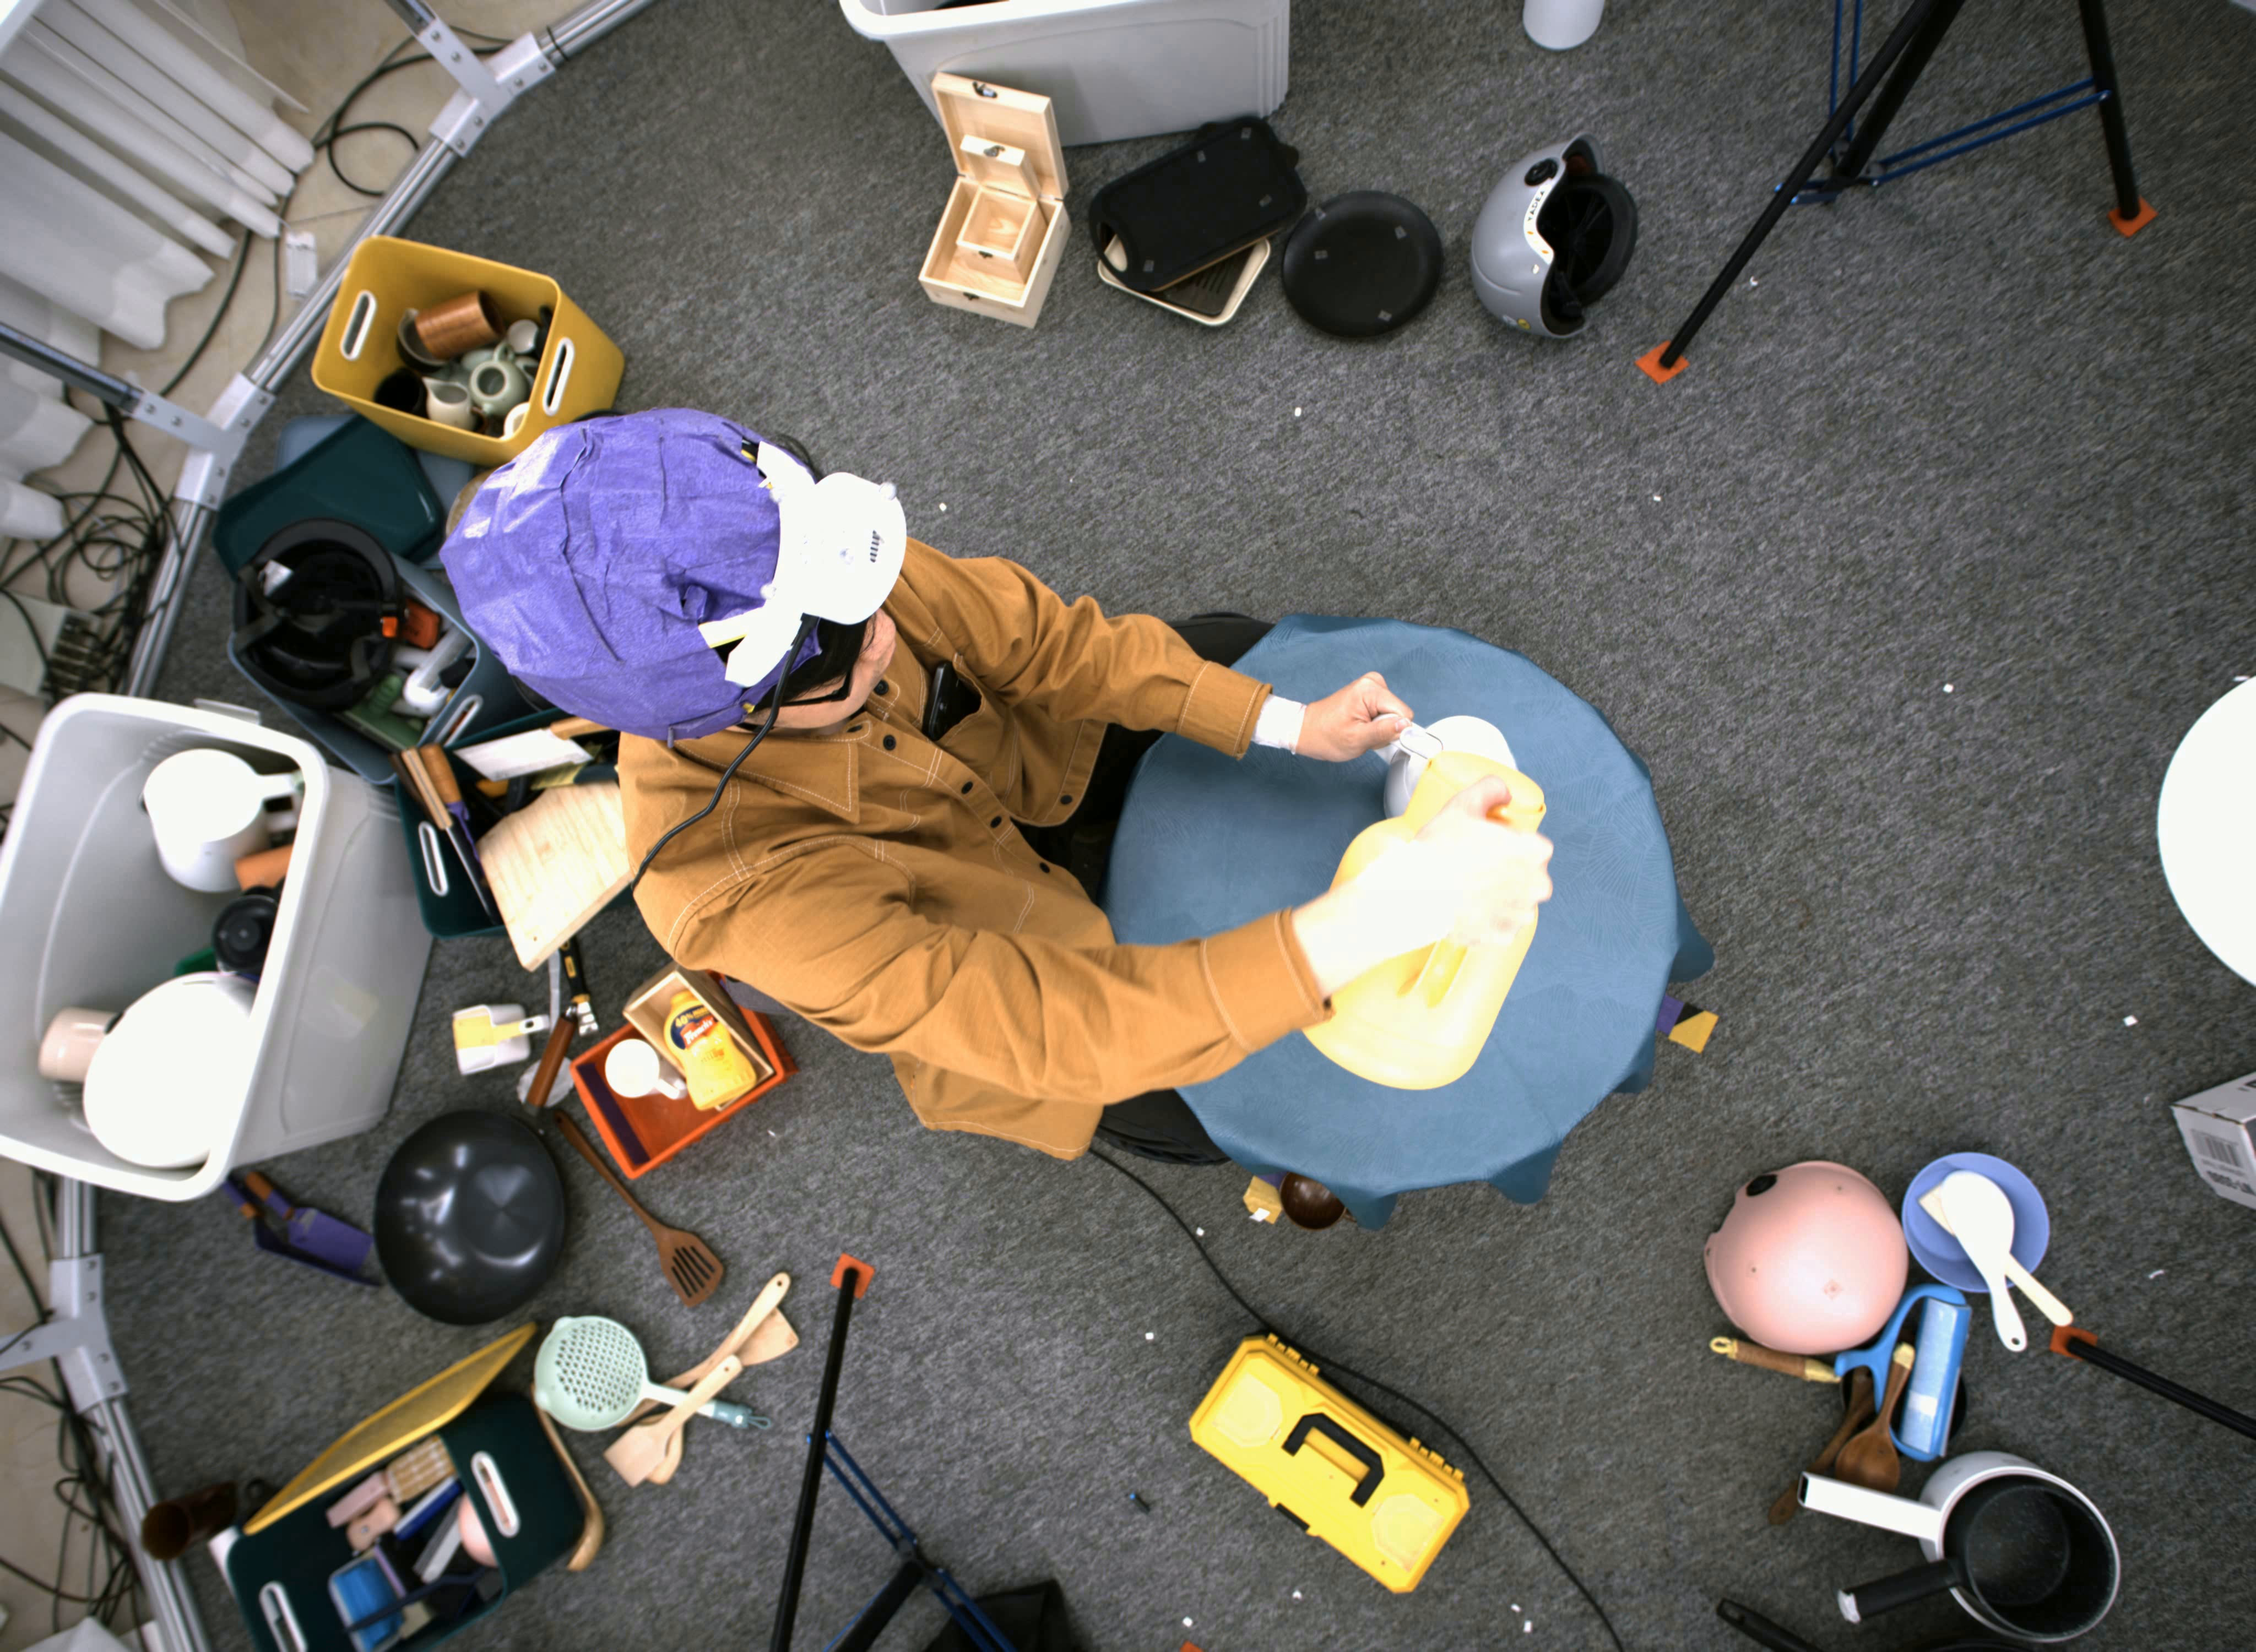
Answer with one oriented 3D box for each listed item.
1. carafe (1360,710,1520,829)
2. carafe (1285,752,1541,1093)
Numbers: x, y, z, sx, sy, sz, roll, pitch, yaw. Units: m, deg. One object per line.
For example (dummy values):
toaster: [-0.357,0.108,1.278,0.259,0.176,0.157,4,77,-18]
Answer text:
carafe: [0.300,-0.051,1.335,0.167,0.249,0.133,35,92,12]
carafe: [0.231,0.076,1.079,0.163,0.199,0.265,20,111,5]
